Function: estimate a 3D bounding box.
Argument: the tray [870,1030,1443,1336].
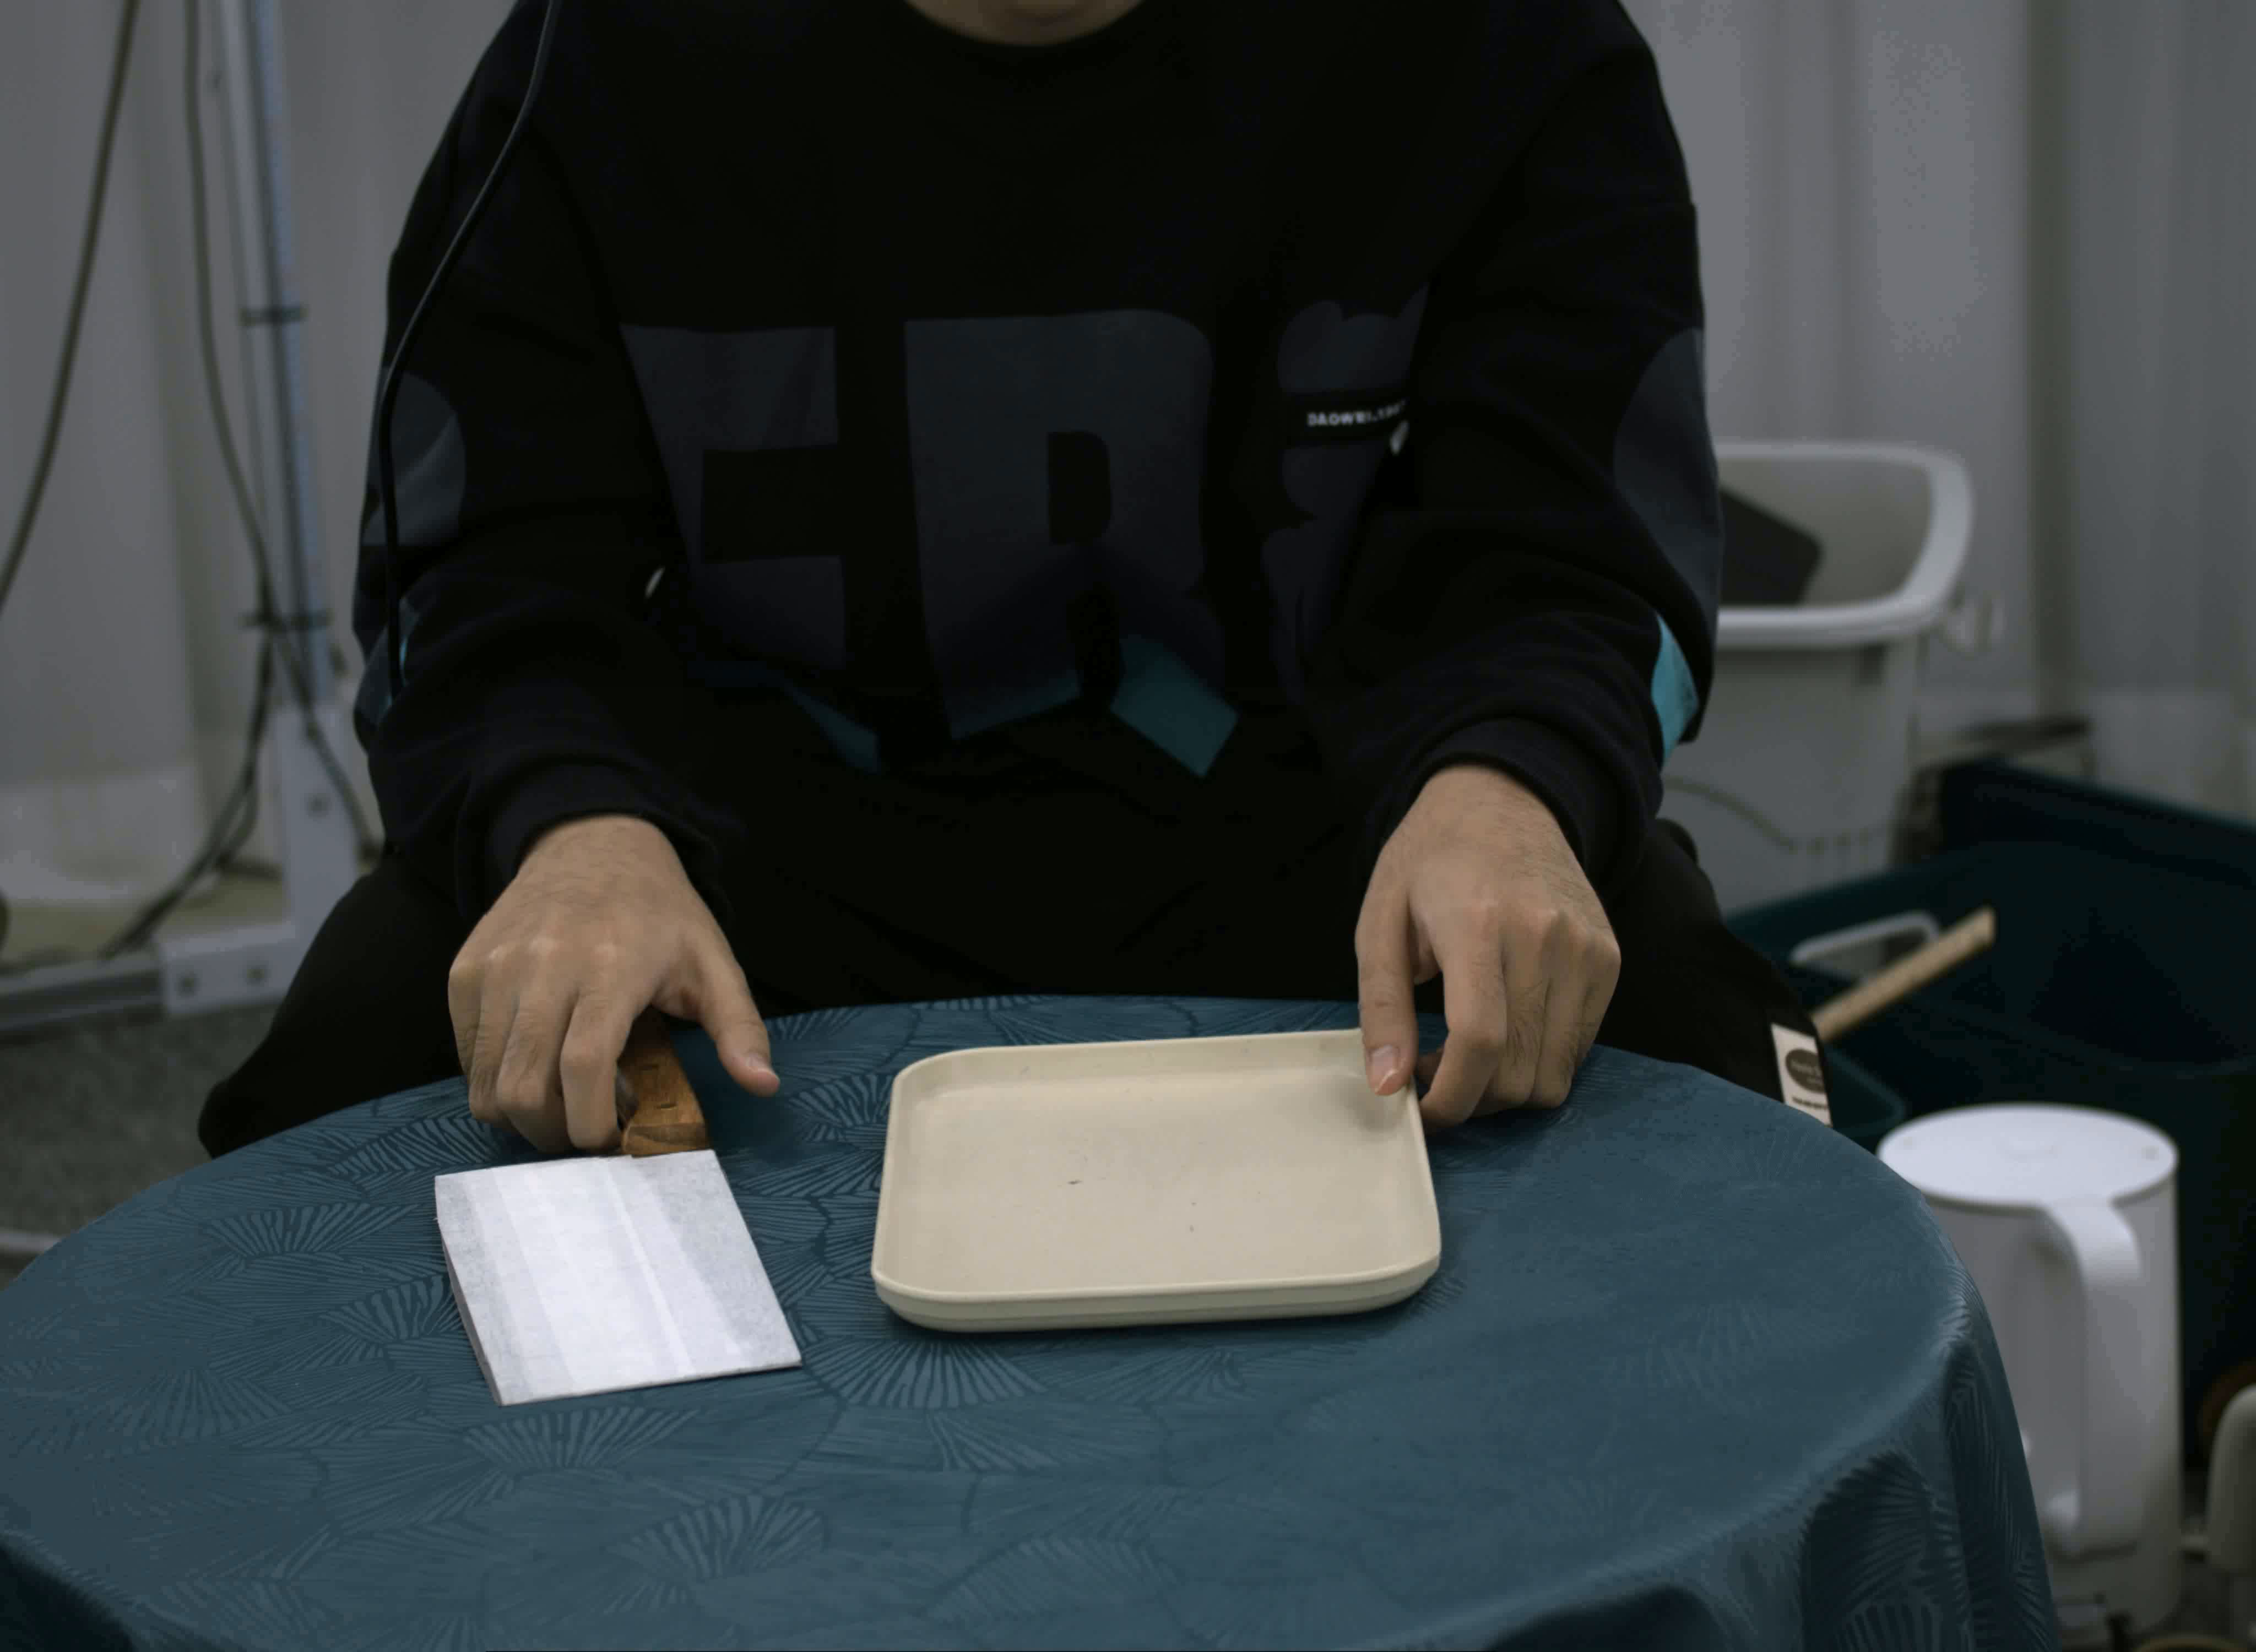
[{"bbox_3d":[0.008,0.110,1.696,0.171,0.017,0.241,-4,15,1],"label":"tray"}]

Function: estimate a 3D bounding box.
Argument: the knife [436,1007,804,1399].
[{"bbox_3d":[-0.168,0.117,1.711,0.092,0.021,0.308,-8,18,-11],"label":"knife"}]
